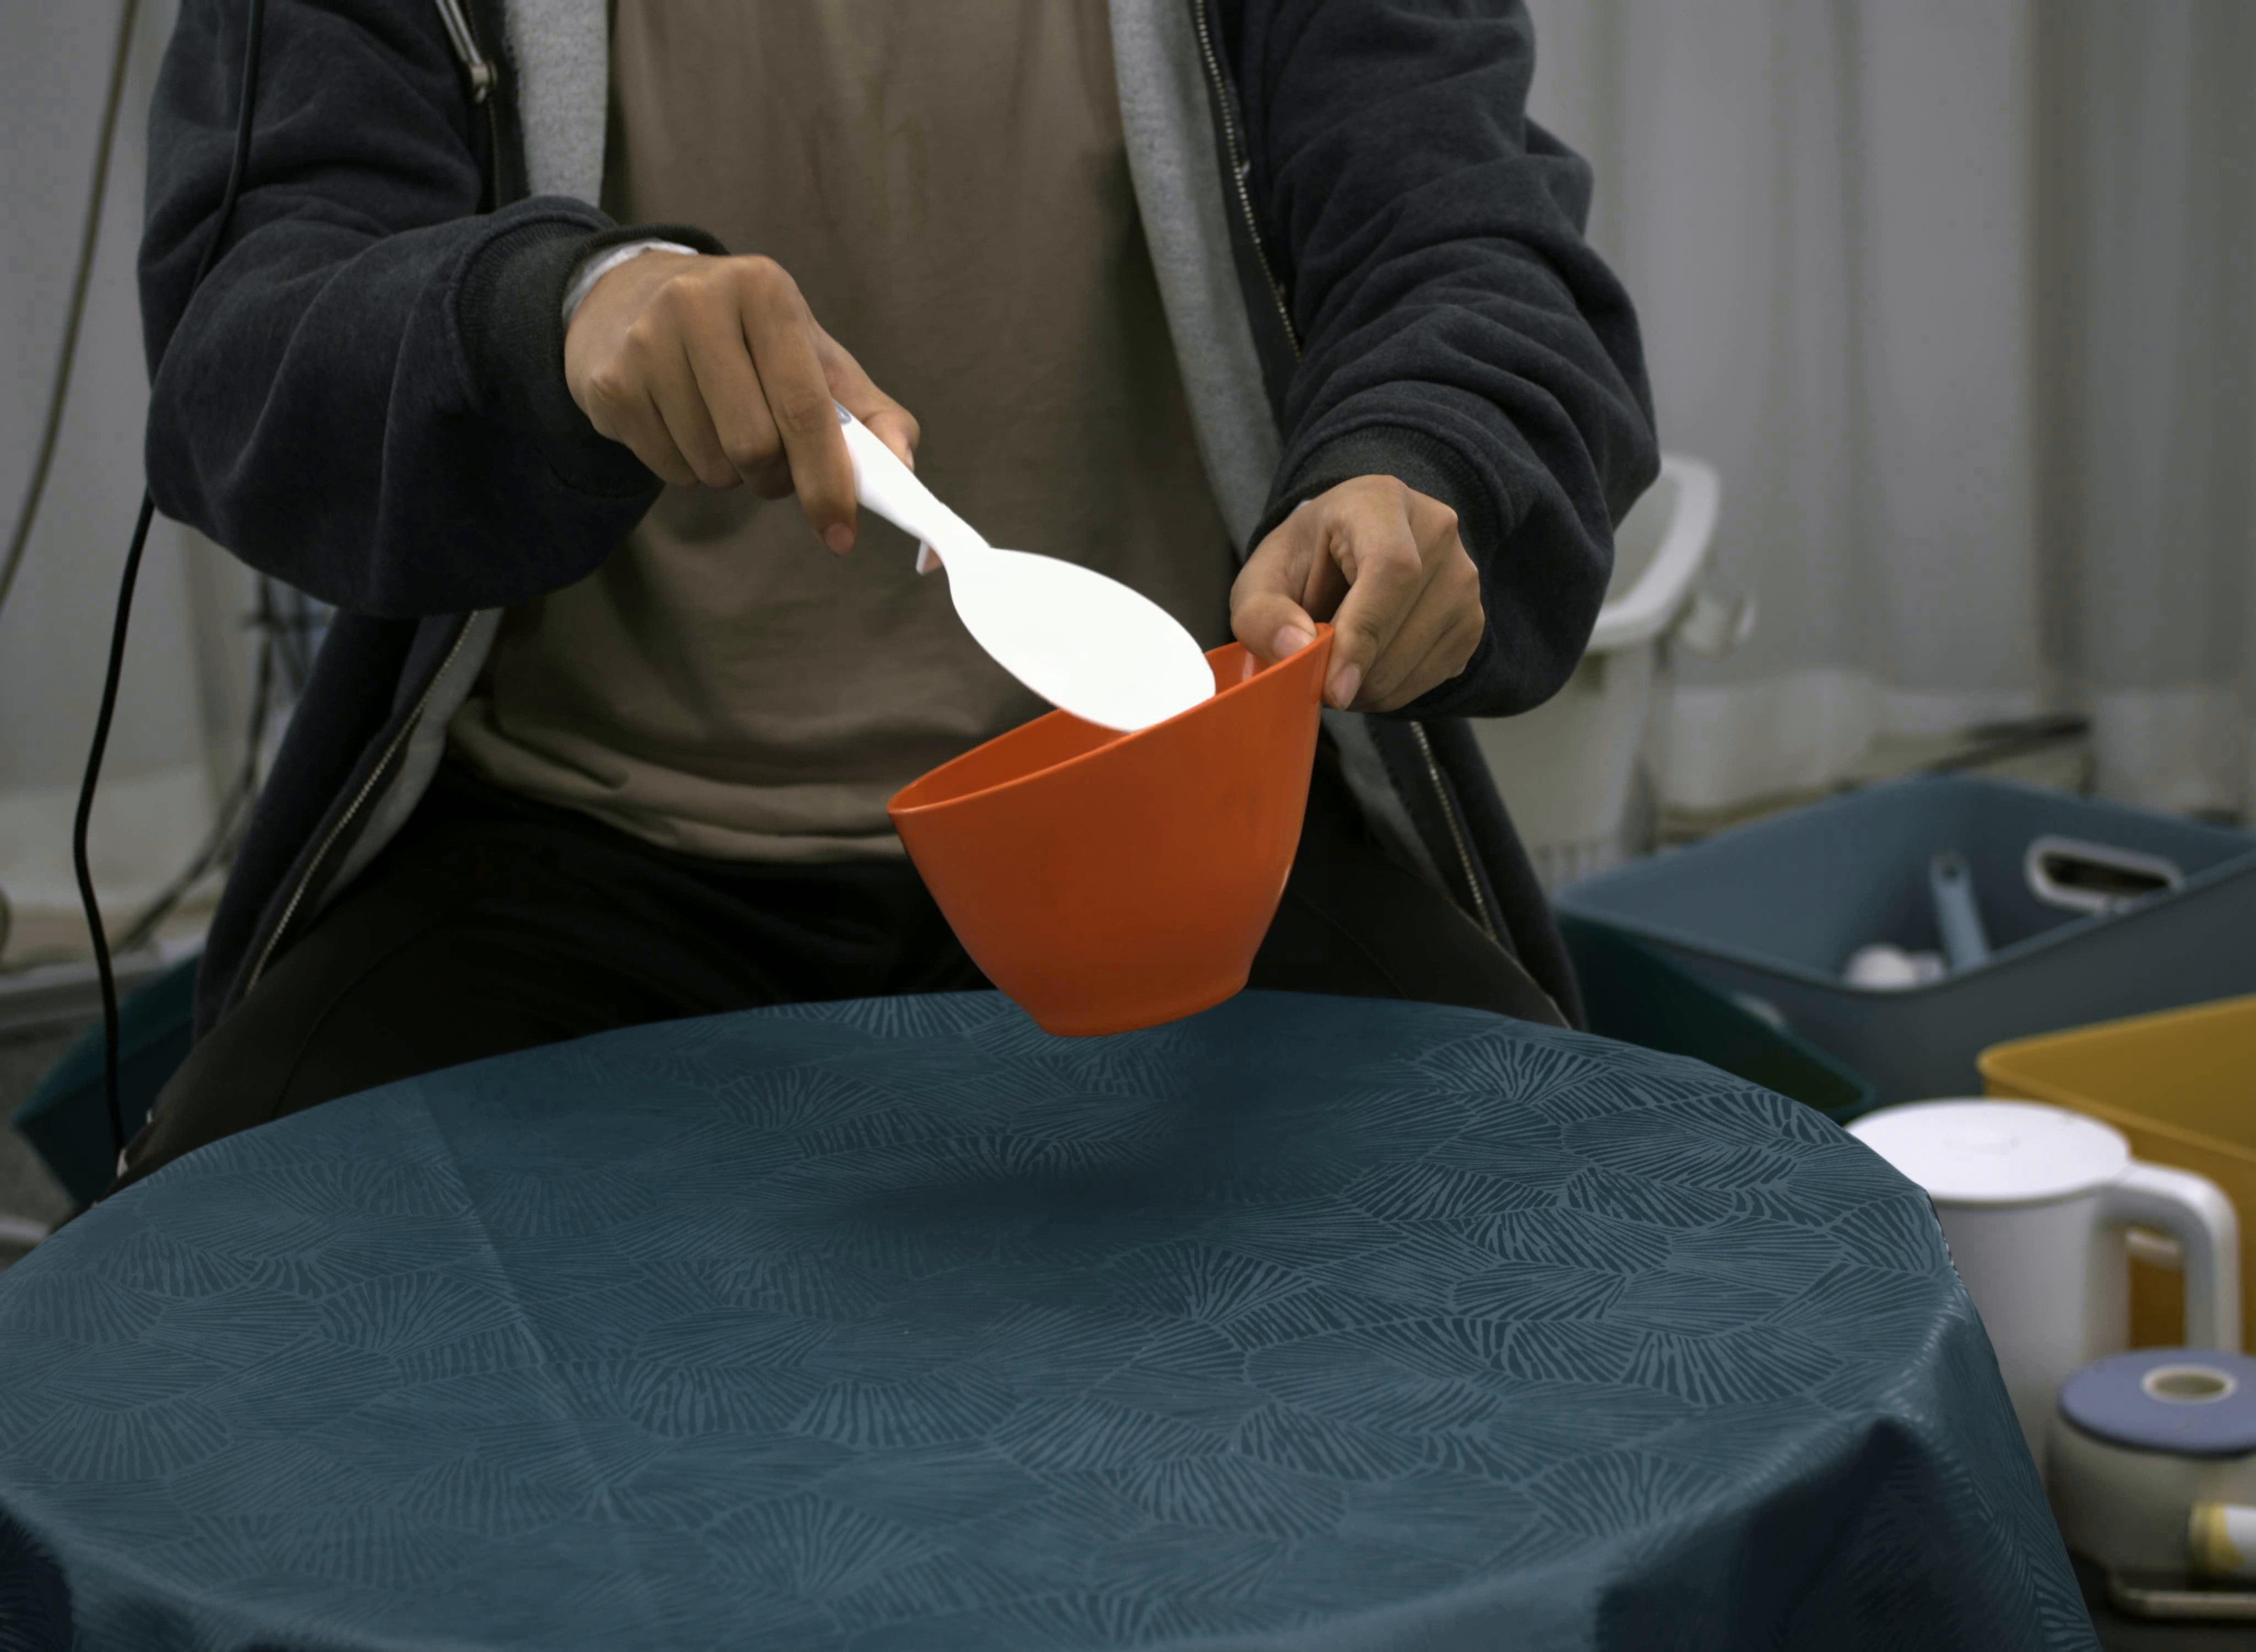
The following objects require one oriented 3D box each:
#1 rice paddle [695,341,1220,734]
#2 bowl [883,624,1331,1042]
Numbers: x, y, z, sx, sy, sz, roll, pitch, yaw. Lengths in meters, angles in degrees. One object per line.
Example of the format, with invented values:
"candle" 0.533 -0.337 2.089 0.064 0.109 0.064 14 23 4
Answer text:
"rice paddle" -0.053 -0.088 1.715 0.207 0.029 0.069 37 41 24
"bowl" 0.003 0.006 1.685 0.147 0.104 0.149 -14 11 3
